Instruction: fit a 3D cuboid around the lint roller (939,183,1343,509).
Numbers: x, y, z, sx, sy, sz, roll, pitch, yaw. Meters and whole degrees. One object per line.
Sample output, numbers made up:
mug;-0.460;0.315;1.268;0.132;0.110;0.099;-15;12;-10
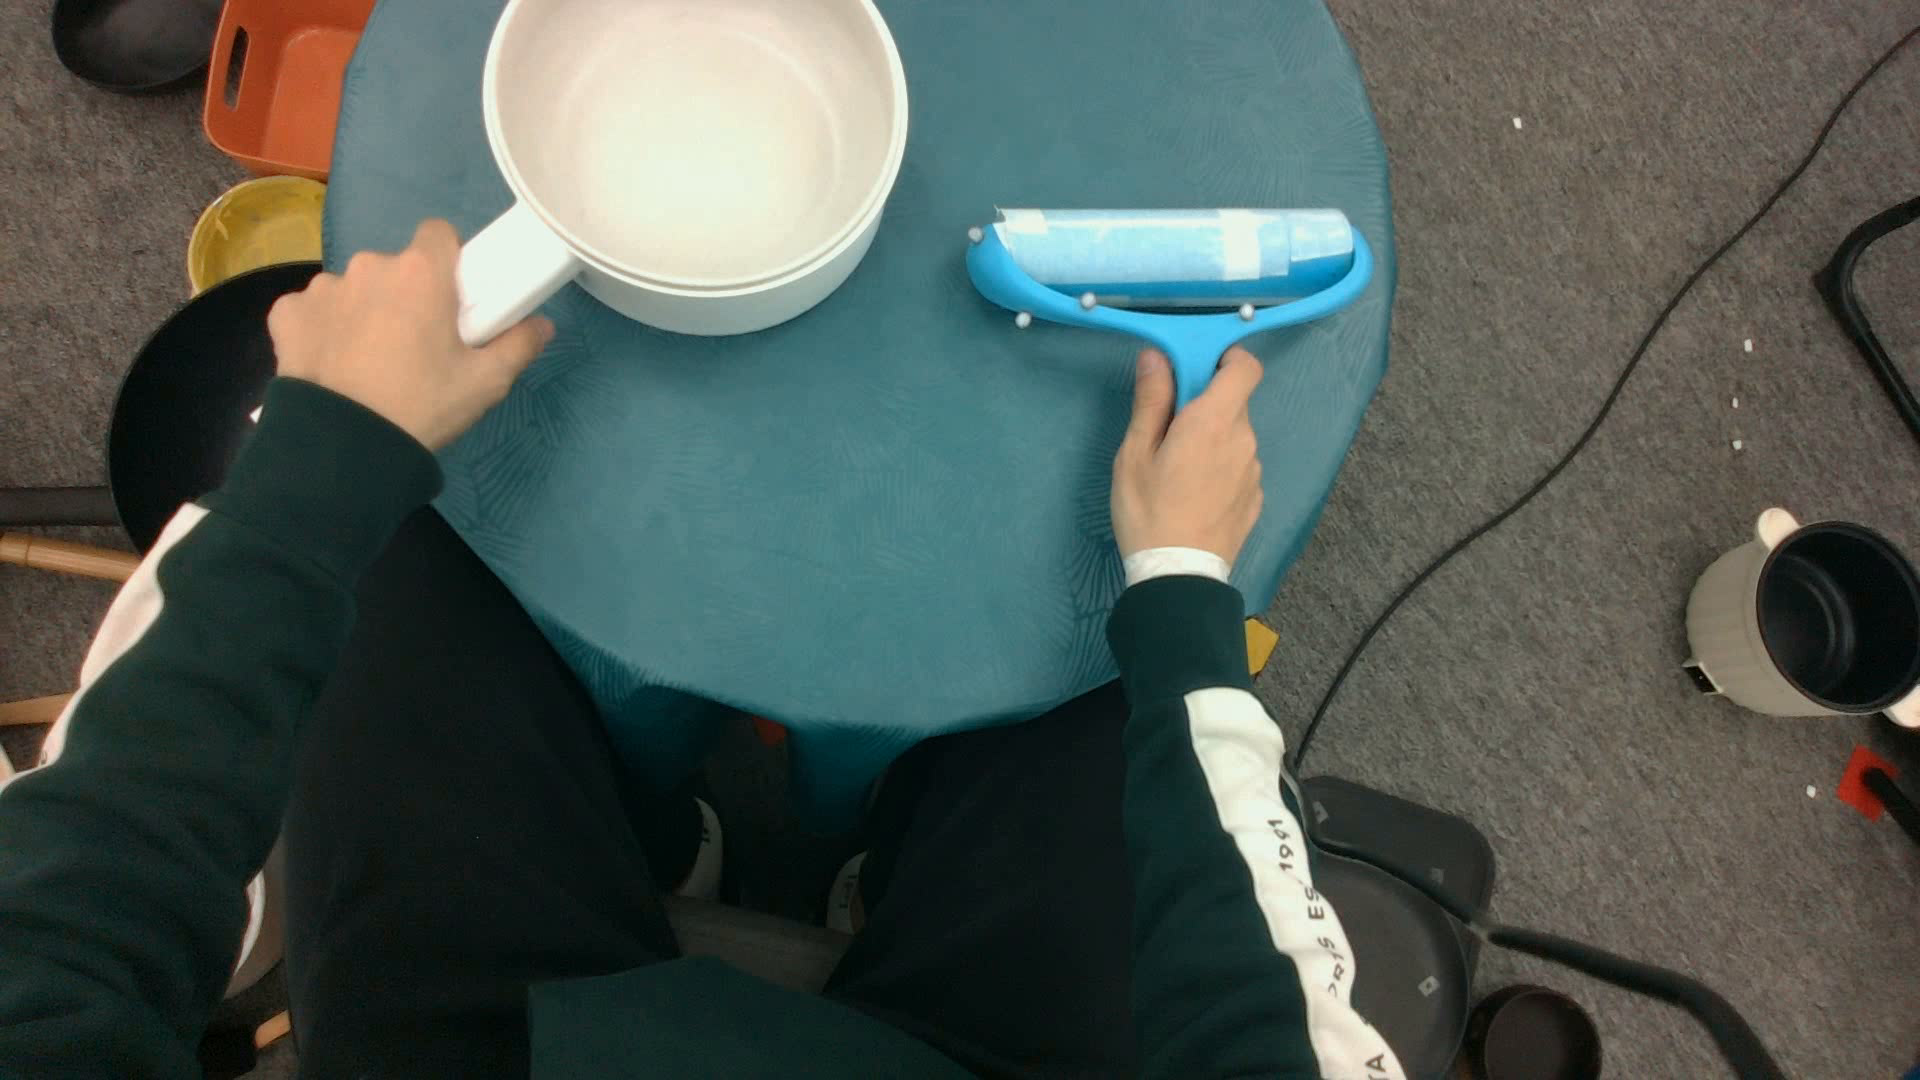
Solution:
lint roller;0.110;-0.111;0.756;0.229;0.068;0.180;-6;79;-12

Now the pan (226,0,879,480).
pan;-0.198;-0.157;0.694;0.201;0.102;0.355;44;77;0
